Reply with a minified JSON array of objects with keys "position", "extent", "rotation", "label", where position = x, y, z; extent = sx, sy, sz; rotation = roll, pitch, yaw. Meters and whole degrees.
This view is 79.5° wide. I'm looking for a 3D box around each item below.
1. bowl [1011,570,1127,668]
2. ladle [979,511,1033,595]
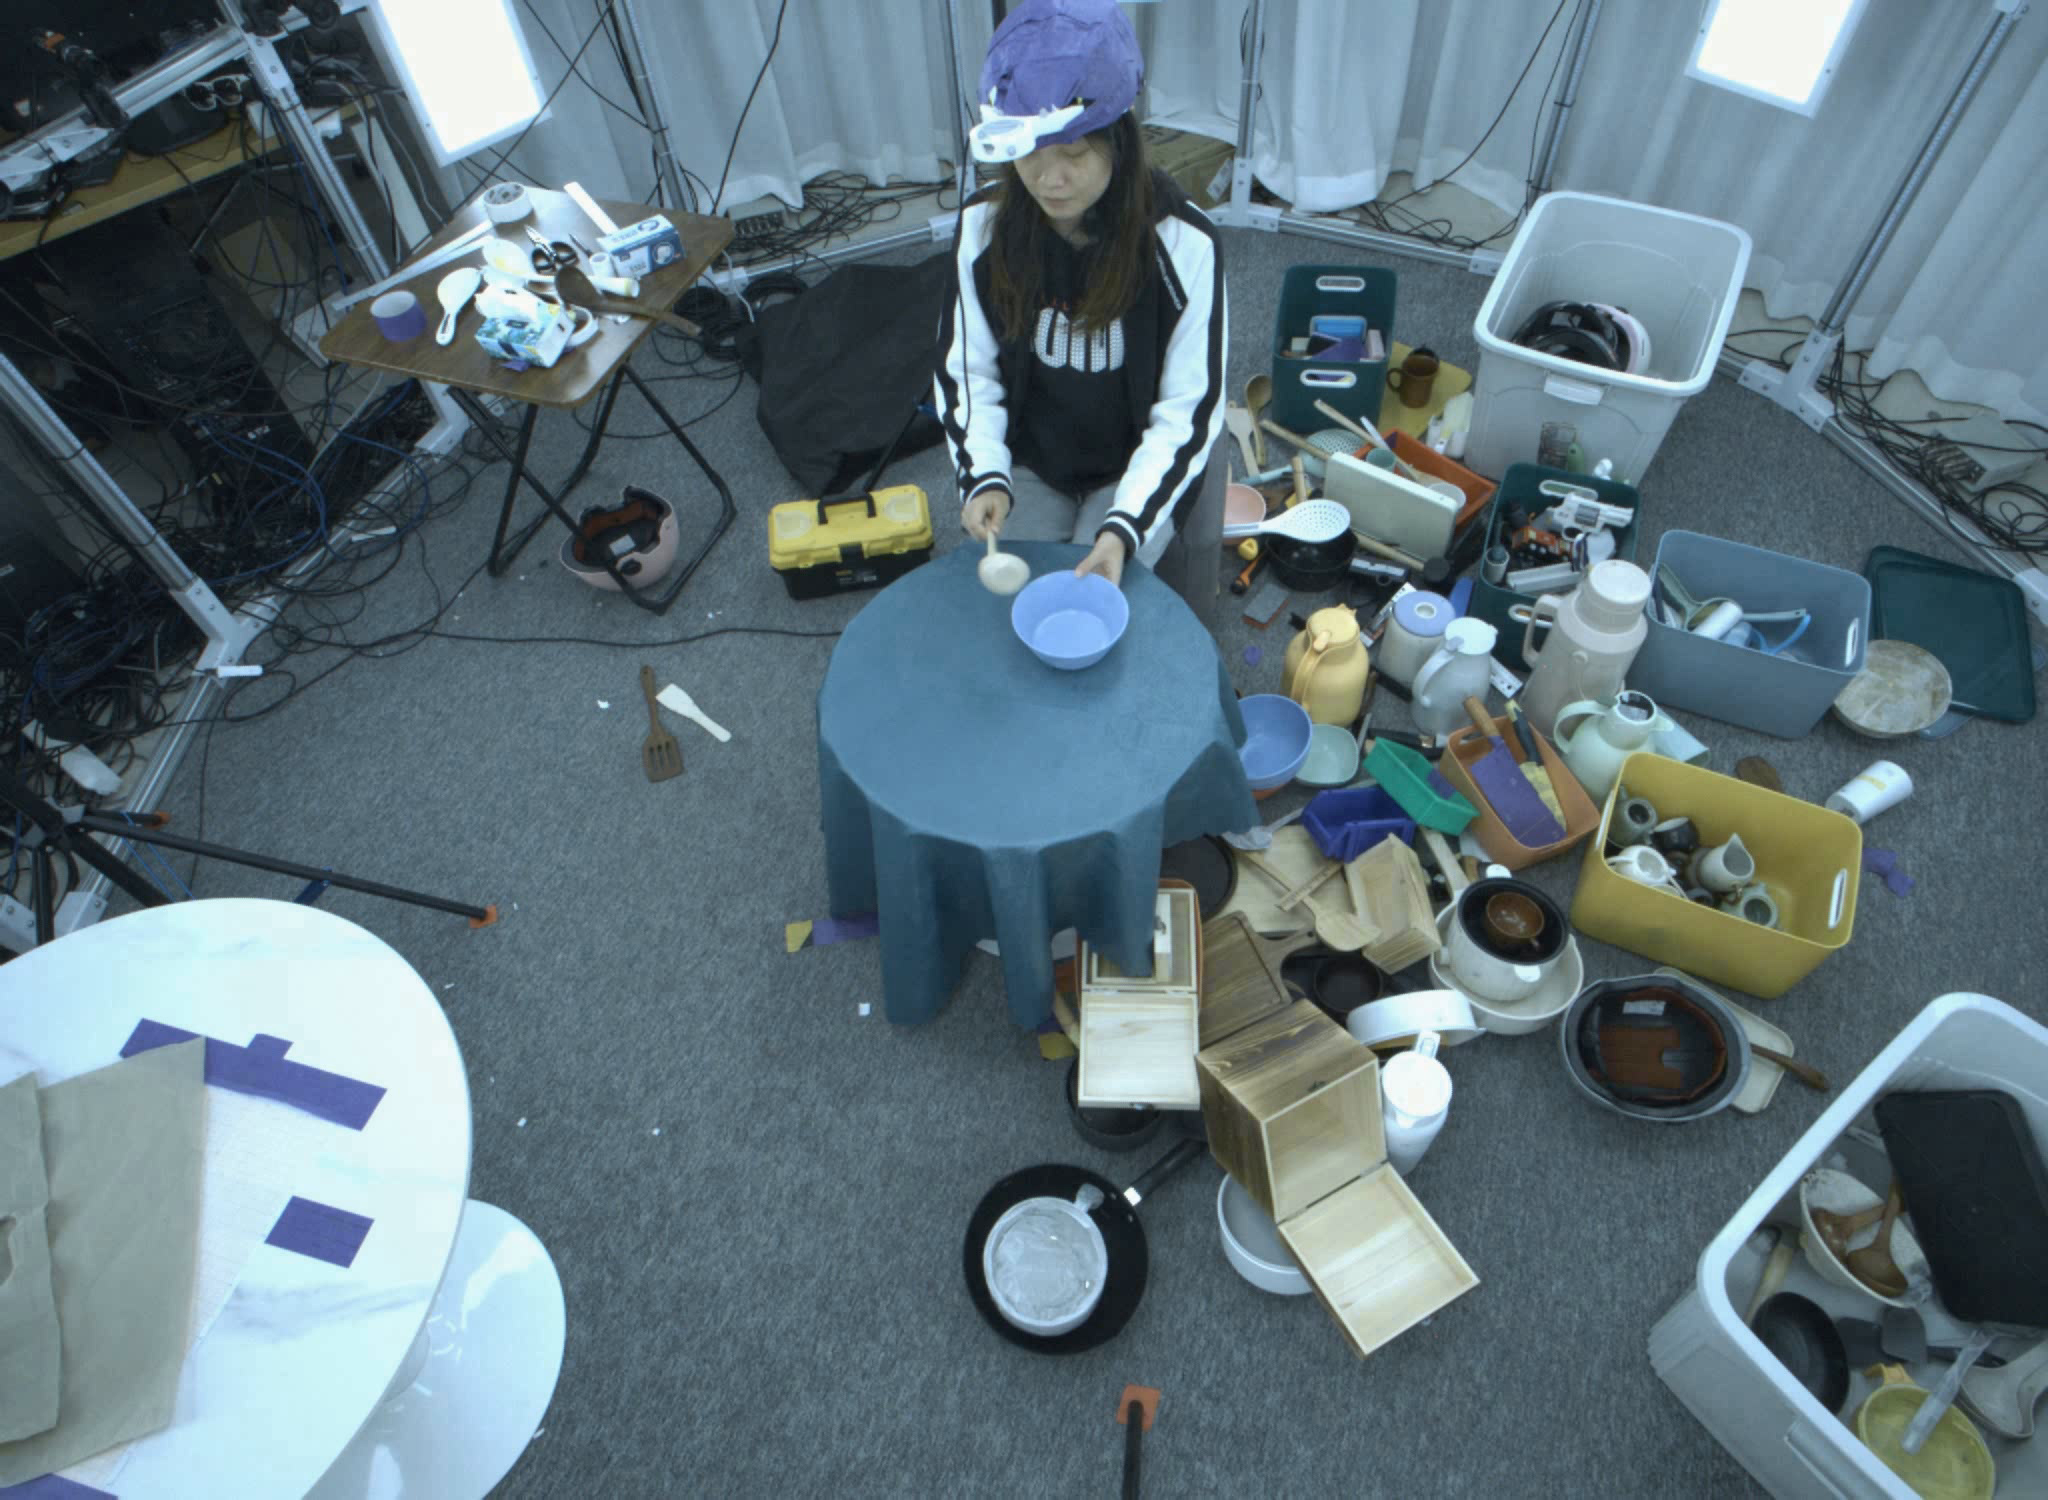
[{"position":[0.068,-0.190,1.877],"extent":[0.176,0.071,0.174],"rotation":[0,55,1],"label":"bowl"},{"position":[-0.034,-0.318,1.824],"extent":[0.073,0.072,0.251],"rotation":[29,32,-28],"label":"ladle"}]
